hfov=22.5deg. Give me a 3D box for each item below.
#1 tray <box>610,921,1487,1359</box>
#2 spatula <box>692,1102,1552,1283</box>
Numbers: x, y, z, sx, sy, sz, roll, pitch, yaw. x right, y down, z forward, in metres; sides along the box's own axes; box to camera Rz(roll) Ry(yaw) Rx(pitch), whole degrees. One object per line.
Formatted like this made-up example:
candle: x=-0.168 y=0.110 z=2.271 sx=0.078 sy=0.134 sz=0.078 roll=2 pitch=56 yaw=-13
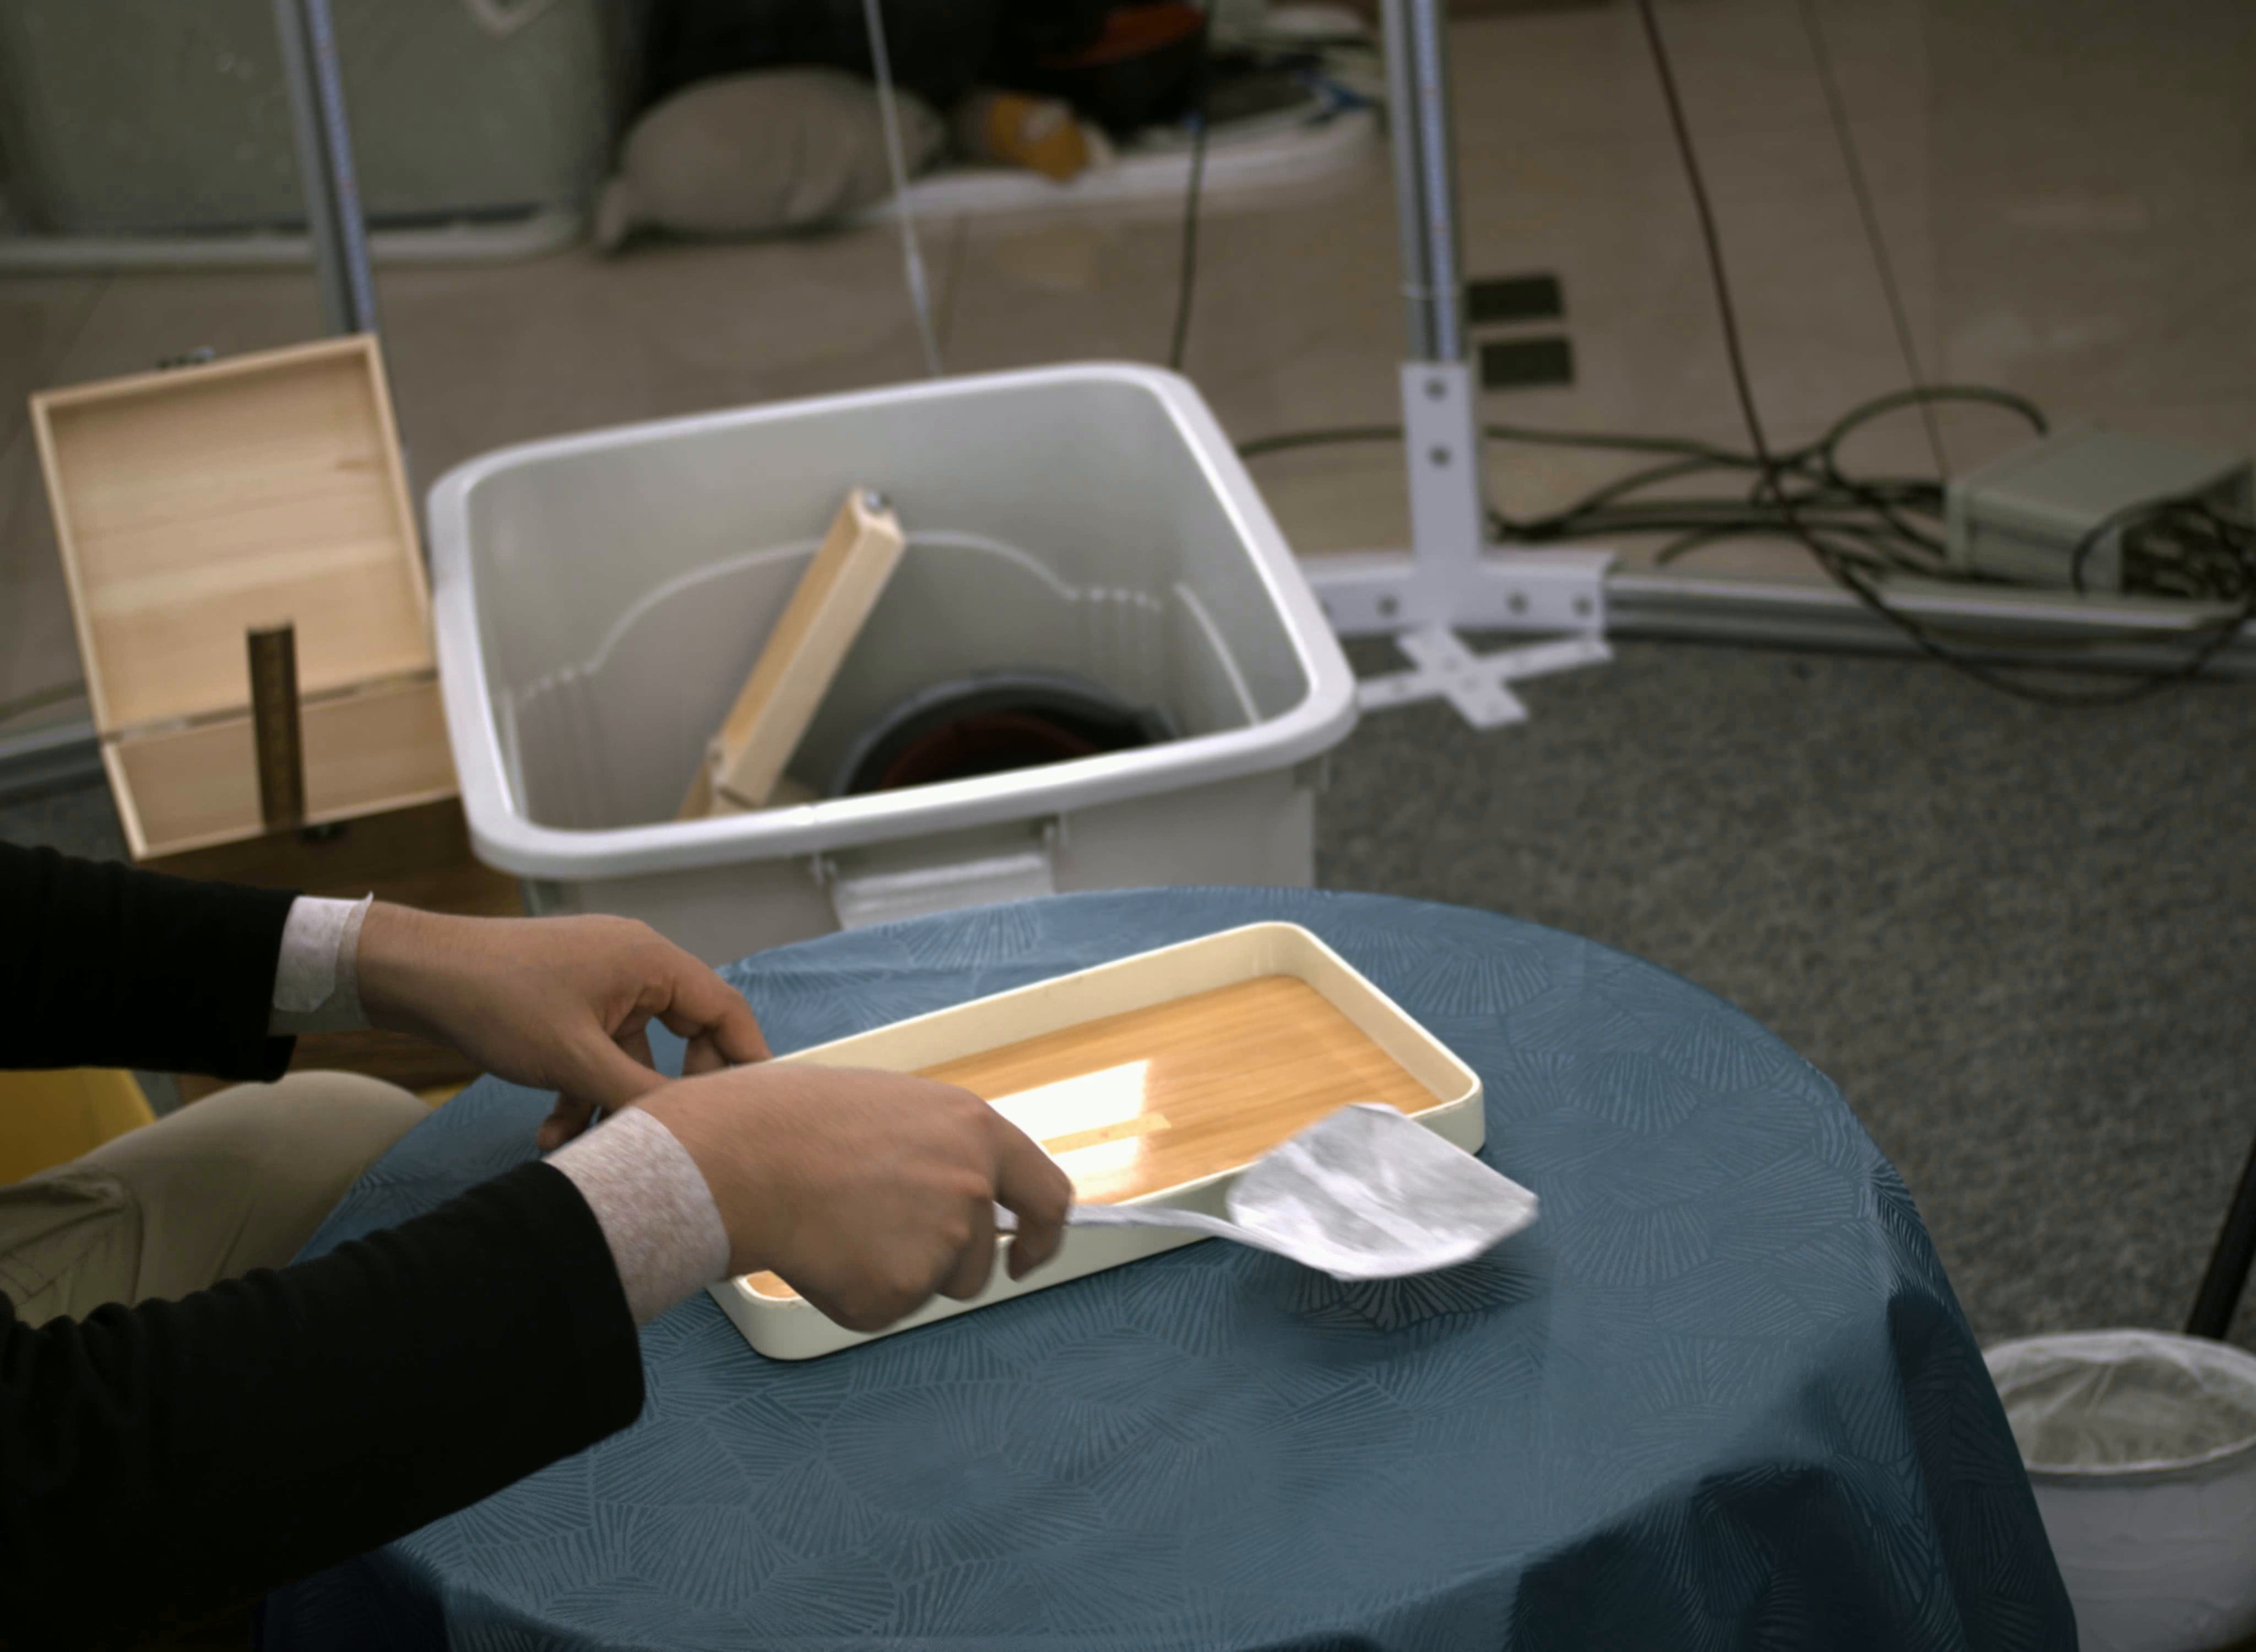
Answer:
tray: x=-0.032 y=0.116 z=2.172 sx=0.299 sy=0.028 sz=0.189 roll=-15 pitch=26 yaw=-18
spatula: x=-0.001 y=0.133 z=1.959 sx=0.365 sy=0.045 sz=0.097 roll=3 pitch=23 yaw=-46
